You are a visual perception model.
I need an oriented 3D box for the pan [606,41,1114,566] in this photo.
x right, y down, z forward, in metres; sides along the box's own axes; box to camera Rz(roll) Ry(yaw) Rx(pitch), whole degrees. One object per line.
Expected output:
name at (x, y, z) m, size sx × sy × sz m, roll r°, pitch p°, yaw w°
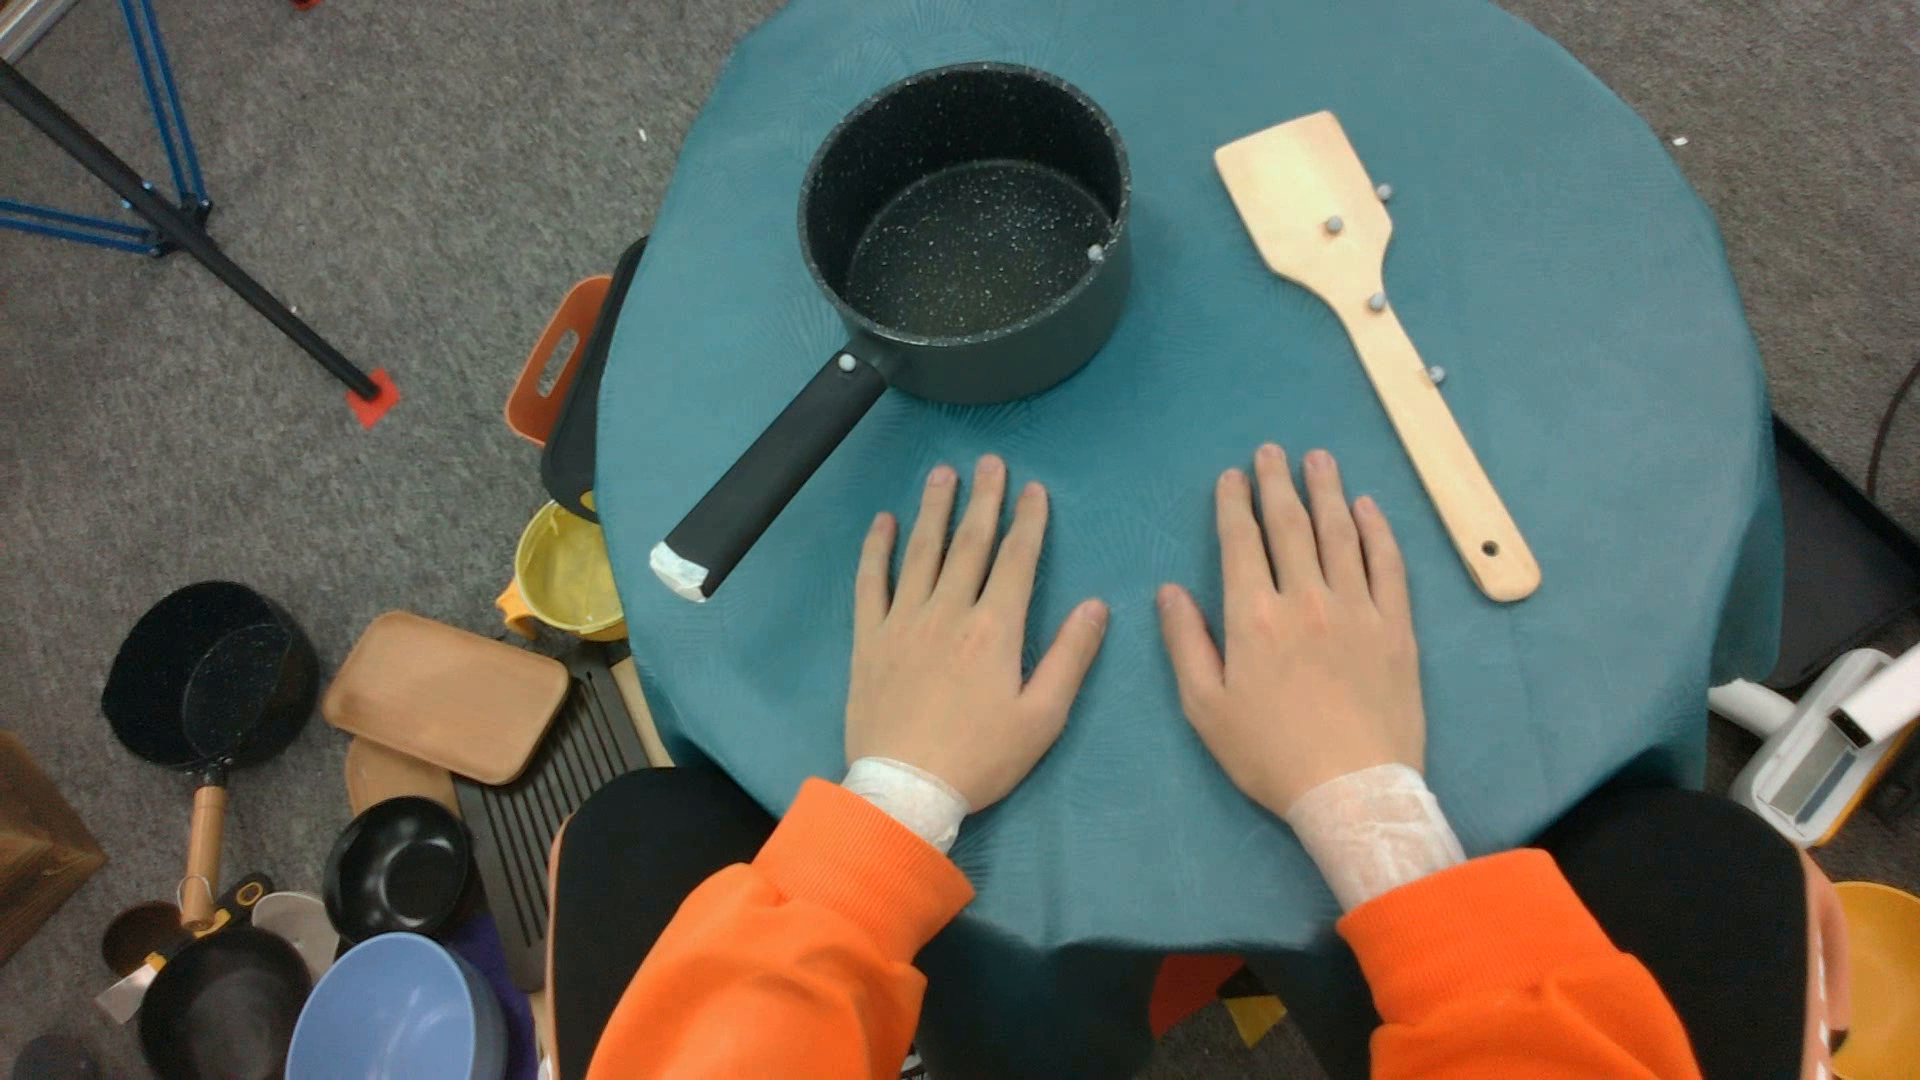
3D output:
pan at (-0.049, -0.108, 0.701) m, size 0.172 × 0.086 × 0.329 m, roll 31°, pitch 74°, yaw 21°

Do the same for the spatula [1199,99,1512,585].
spatula at (0.205, -0.107, 0.698) m, size 0.072 × 0.010 × 0.294 m, roll -18°, pitch 65°, yaw -2°
